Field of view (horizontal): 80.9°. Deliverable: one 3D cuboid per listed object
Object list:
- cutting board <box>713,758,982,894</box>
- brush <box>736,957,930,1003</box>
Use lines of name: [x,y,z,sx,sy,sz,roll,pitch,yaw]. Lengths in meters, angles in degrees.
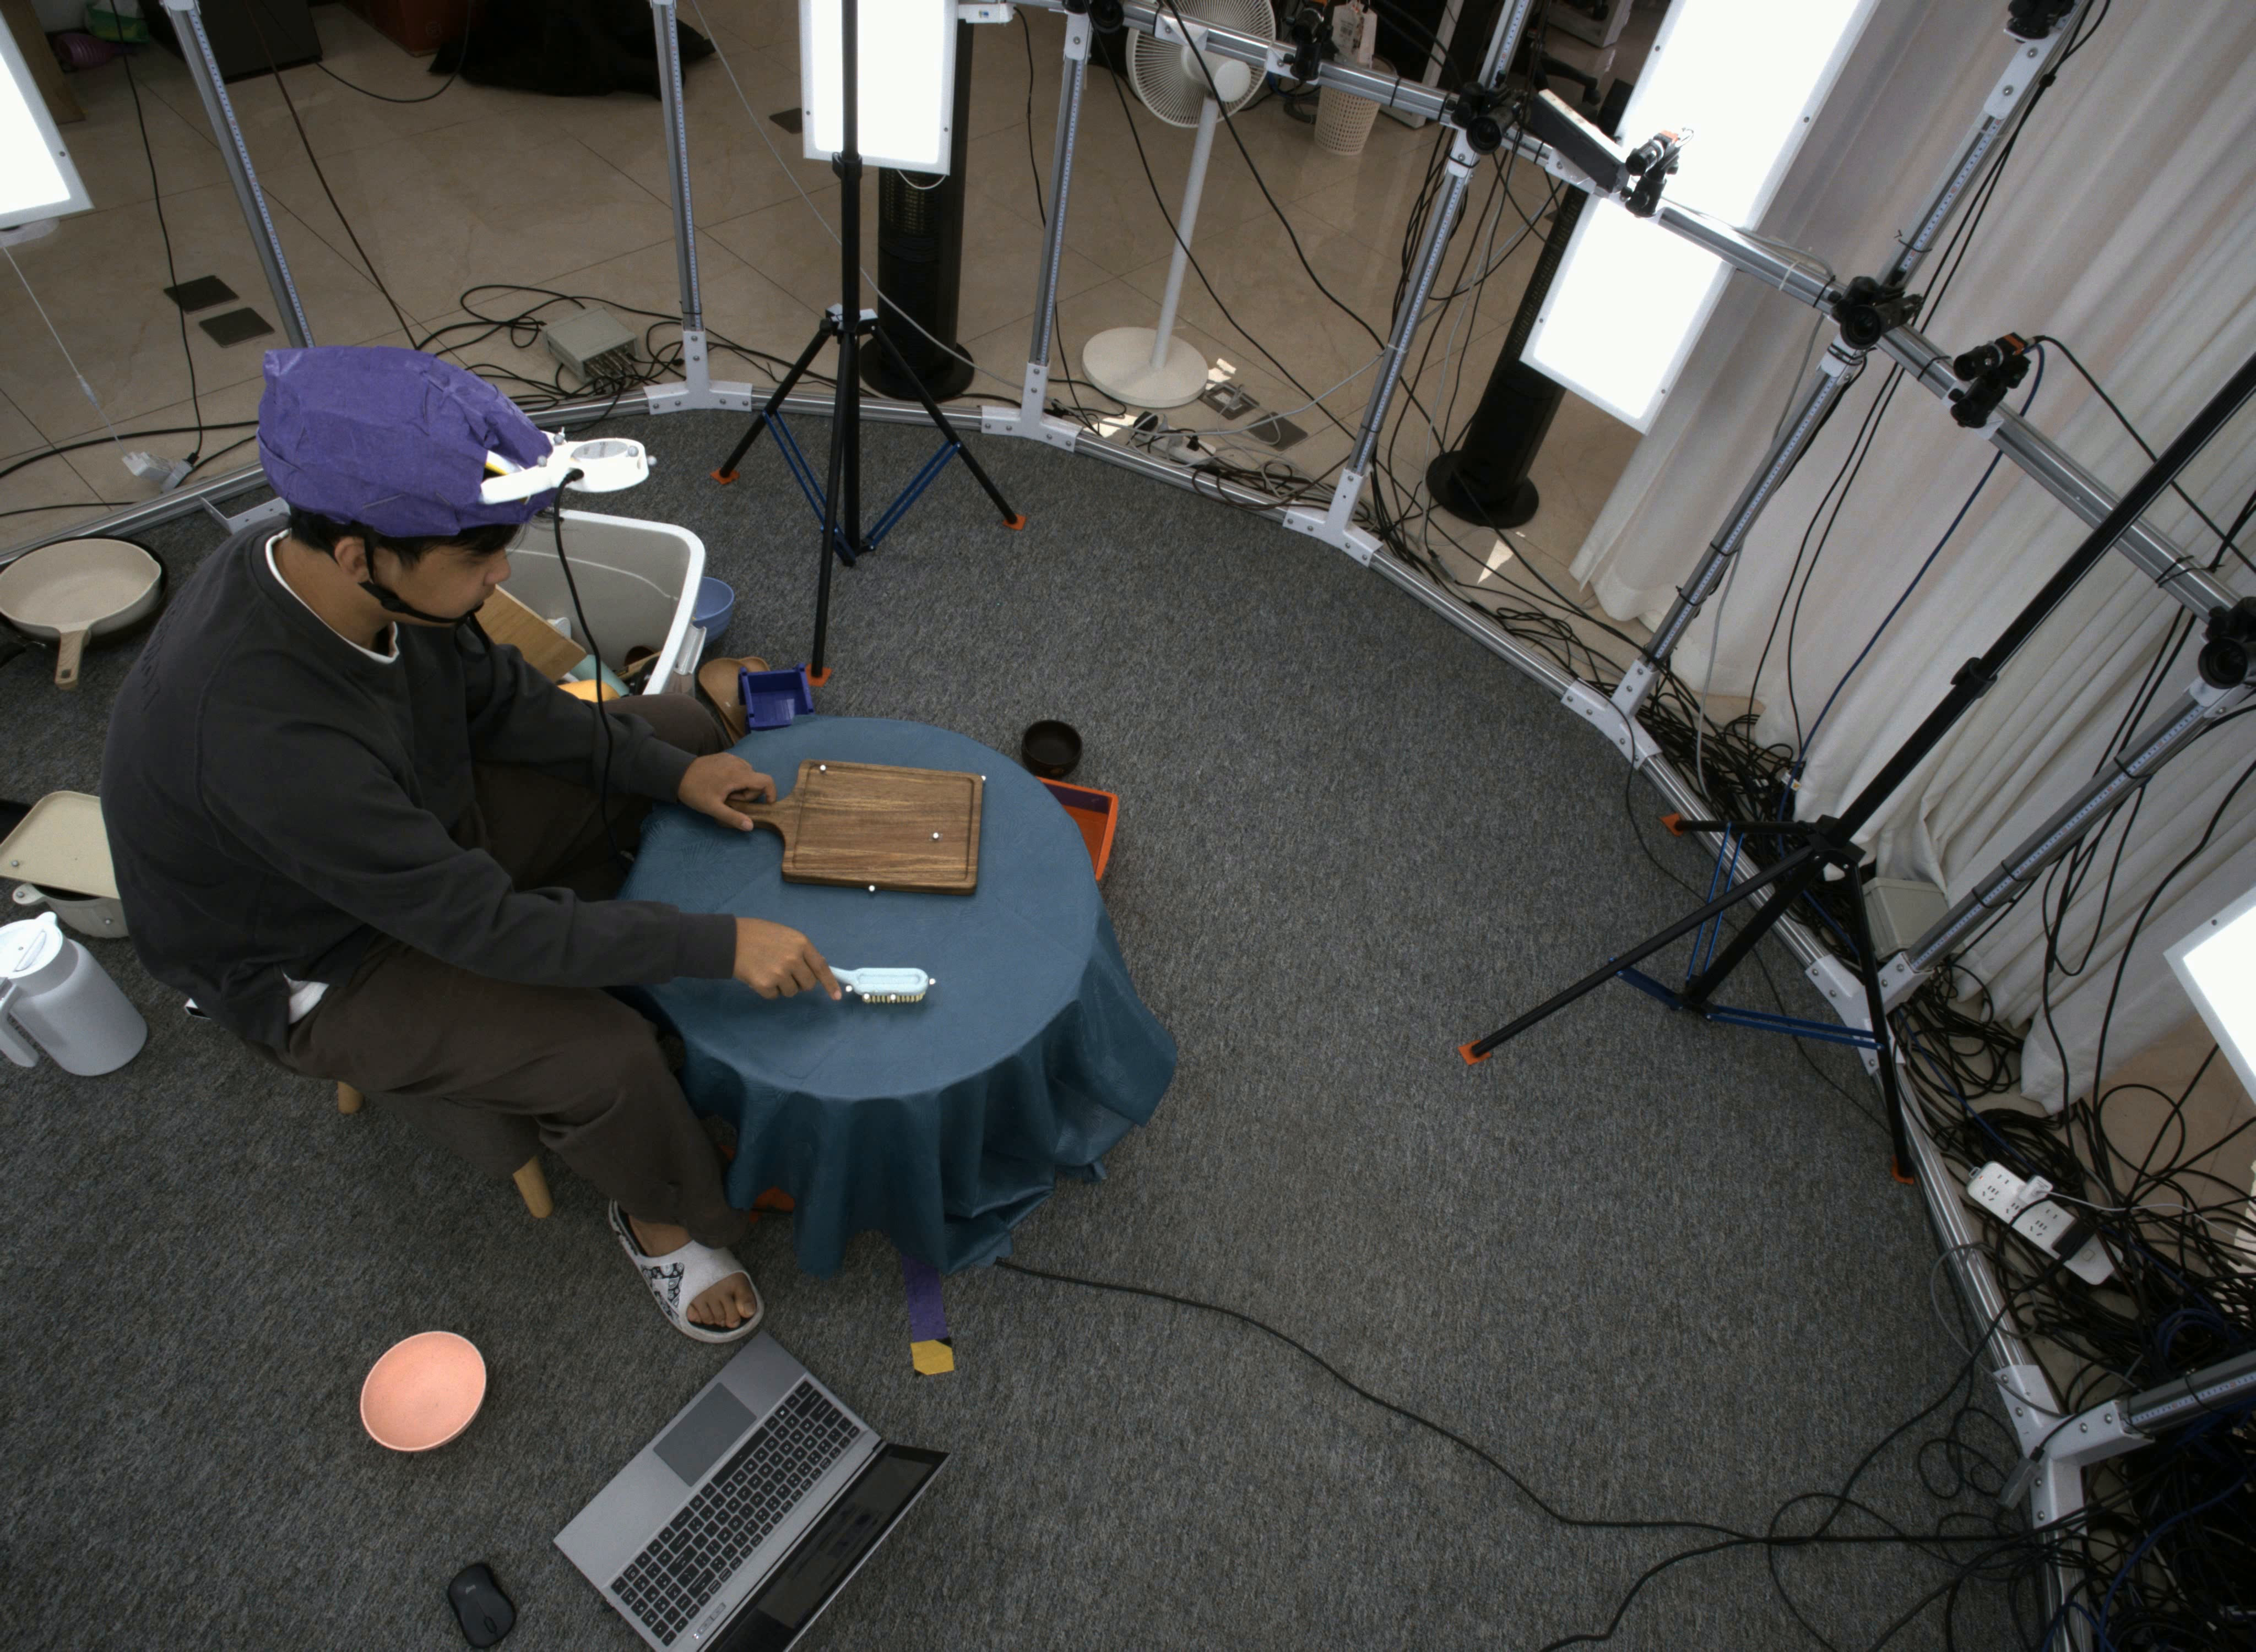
cutting board: [-0.371,-0.007,1.726,0.352,0.023,0.197,5,53,-10]
brush: [-0.353,0.182,1.556,0.231,0.050,0.037,9,49,-22]
